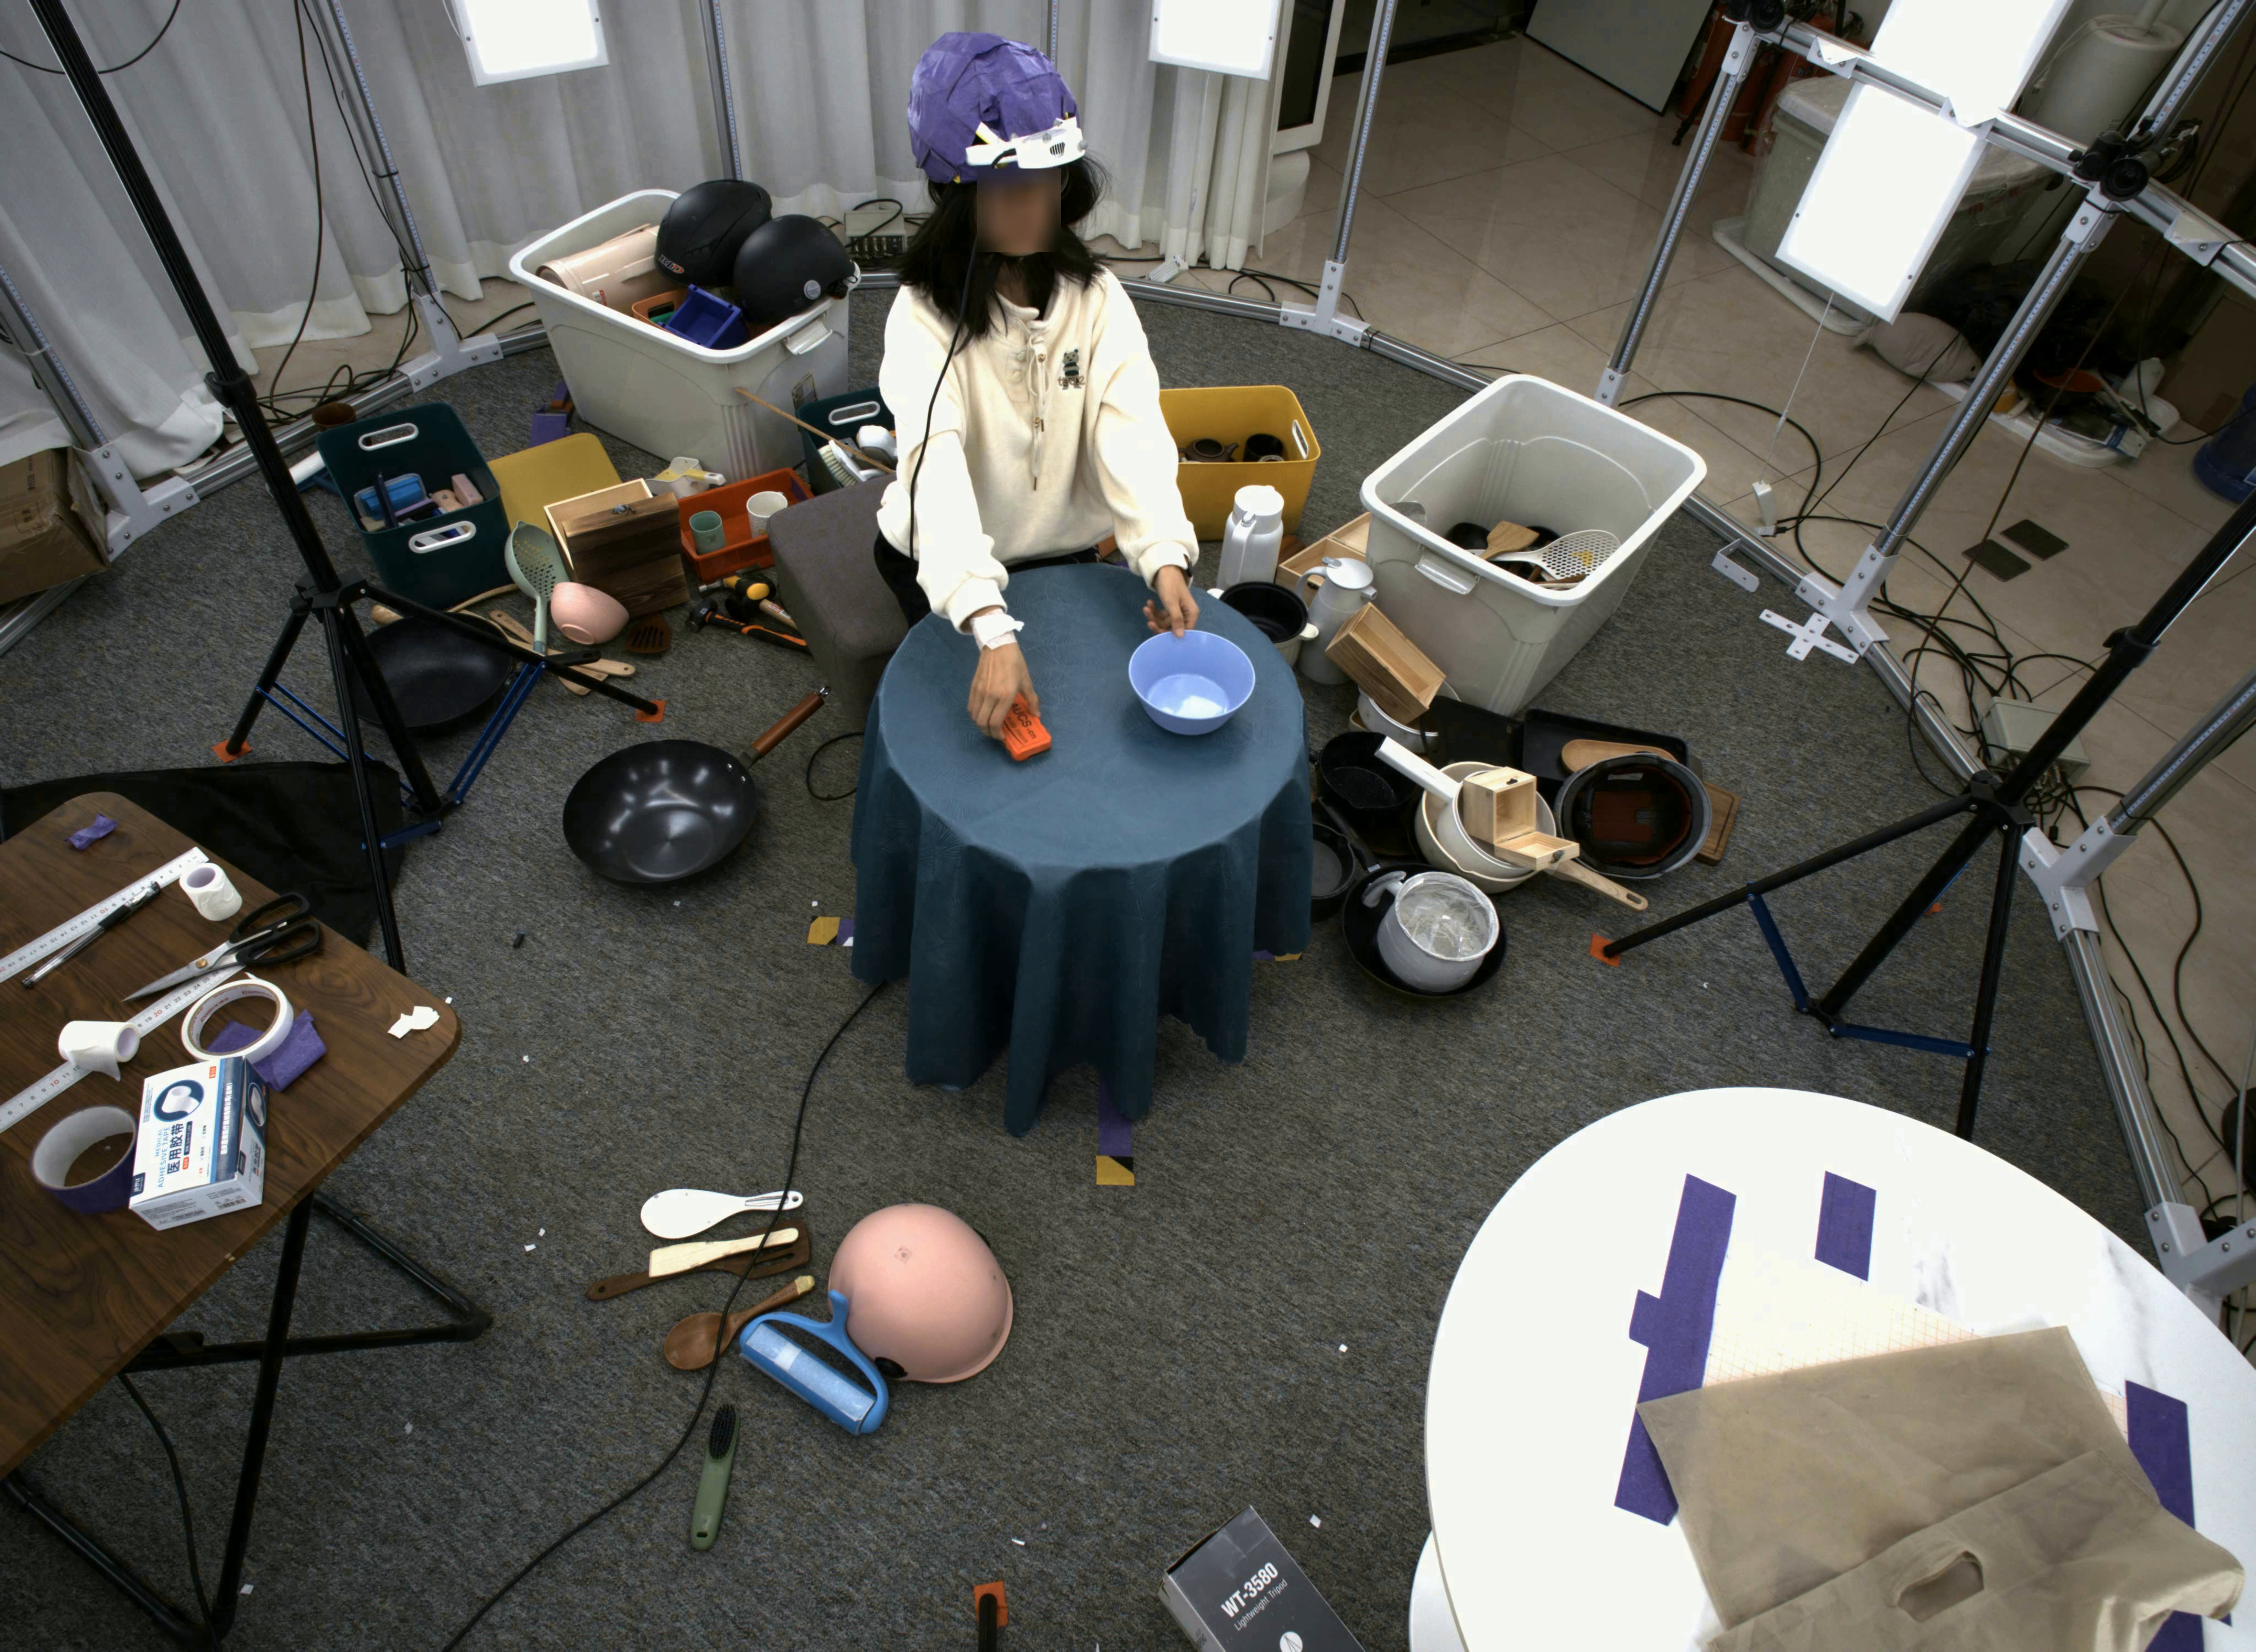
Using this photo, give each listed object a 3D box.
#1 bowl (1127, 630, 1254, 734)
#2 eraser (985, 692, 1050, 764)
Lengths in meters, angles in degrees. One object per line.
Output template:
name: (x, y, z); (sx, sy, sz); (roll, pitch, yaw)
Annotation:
bowl: (0.085, -0.193, 1.797); (0.176, 0.068, 0.180); (2, 49, -2)
eraser: (-0.152, -0.136, 1.763); (0.059, 0.022, 0.110); (-20, 53, -17)
